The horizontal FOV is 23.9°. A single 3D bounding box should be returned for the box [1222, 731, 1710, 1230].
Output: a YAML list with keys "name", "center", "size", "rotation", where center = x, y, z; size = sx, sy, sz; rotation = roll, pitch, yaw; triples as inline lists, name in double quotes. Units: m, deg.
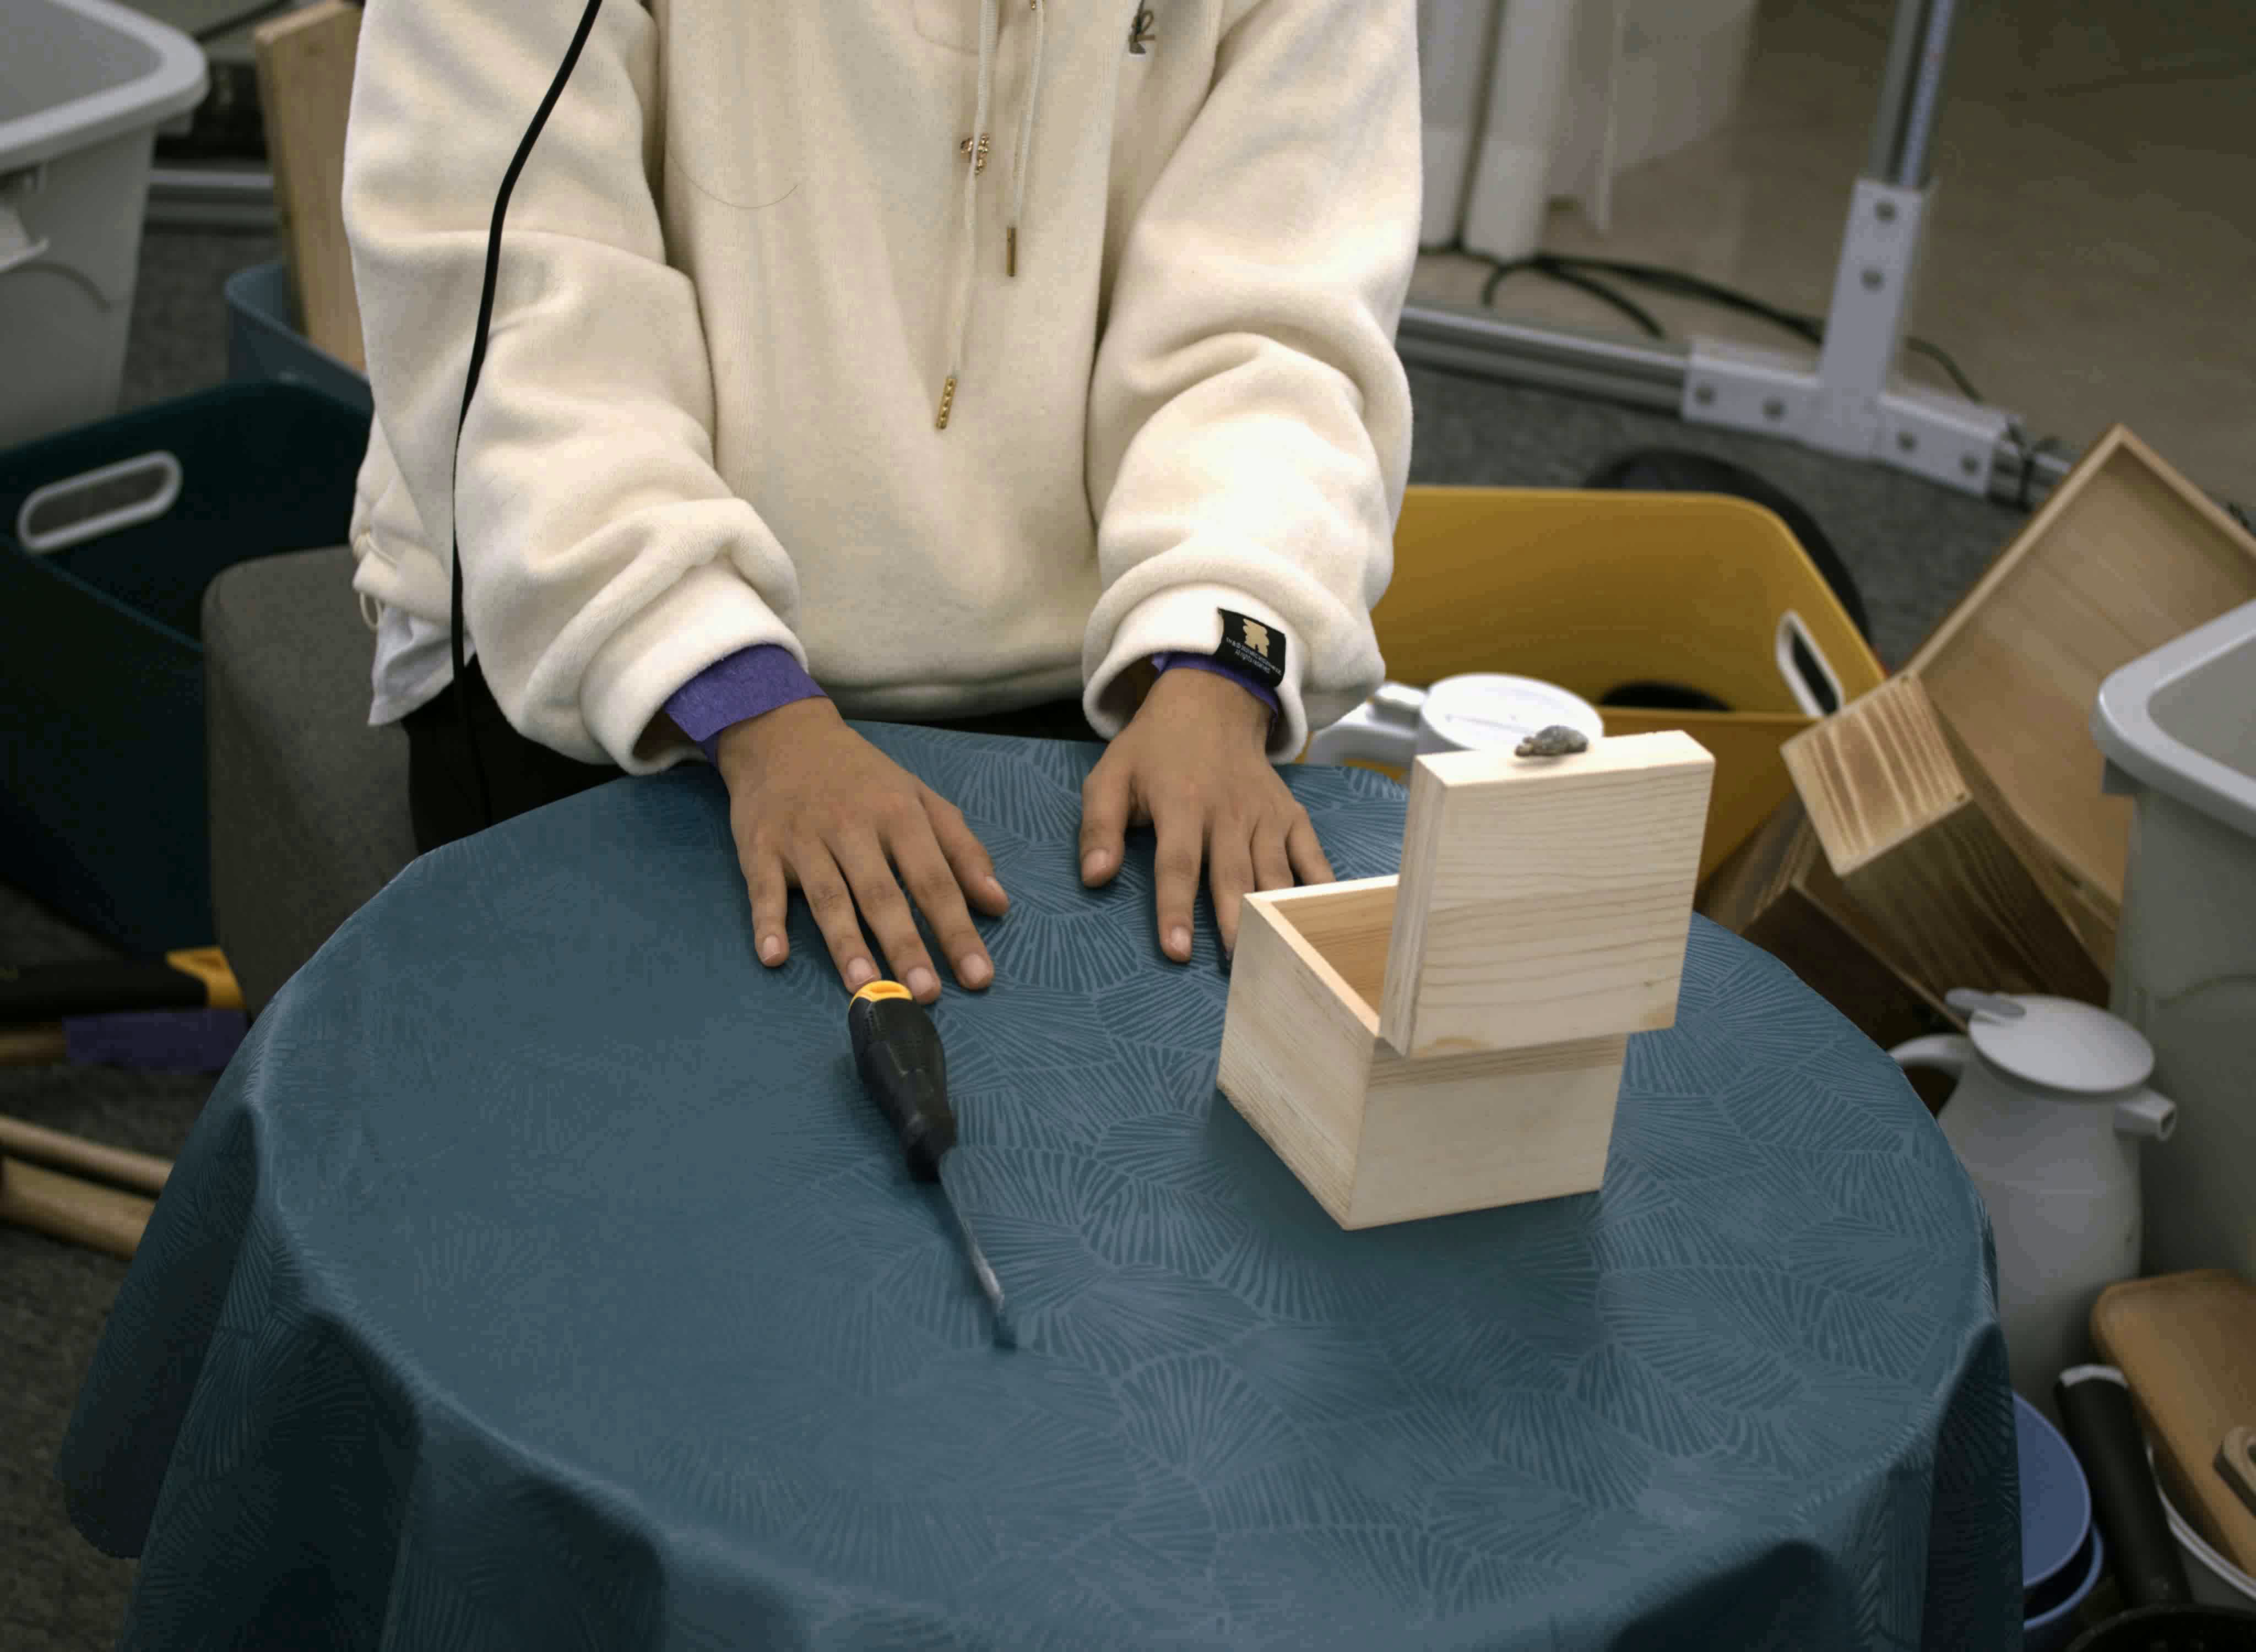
- name: "box"
  center: [0.111, 0.033, 1.804]
  size: [0.102, 0.184, 0.135]
  rotation: [-7, 31, -24]

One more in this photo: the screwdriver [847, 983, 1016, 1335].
- name: "screwdriver"
  center: [-0.067, 0.112, 1.785]
  size: [0.031, 0.031, 0.199]
  rotation: [0, 30, -14]
